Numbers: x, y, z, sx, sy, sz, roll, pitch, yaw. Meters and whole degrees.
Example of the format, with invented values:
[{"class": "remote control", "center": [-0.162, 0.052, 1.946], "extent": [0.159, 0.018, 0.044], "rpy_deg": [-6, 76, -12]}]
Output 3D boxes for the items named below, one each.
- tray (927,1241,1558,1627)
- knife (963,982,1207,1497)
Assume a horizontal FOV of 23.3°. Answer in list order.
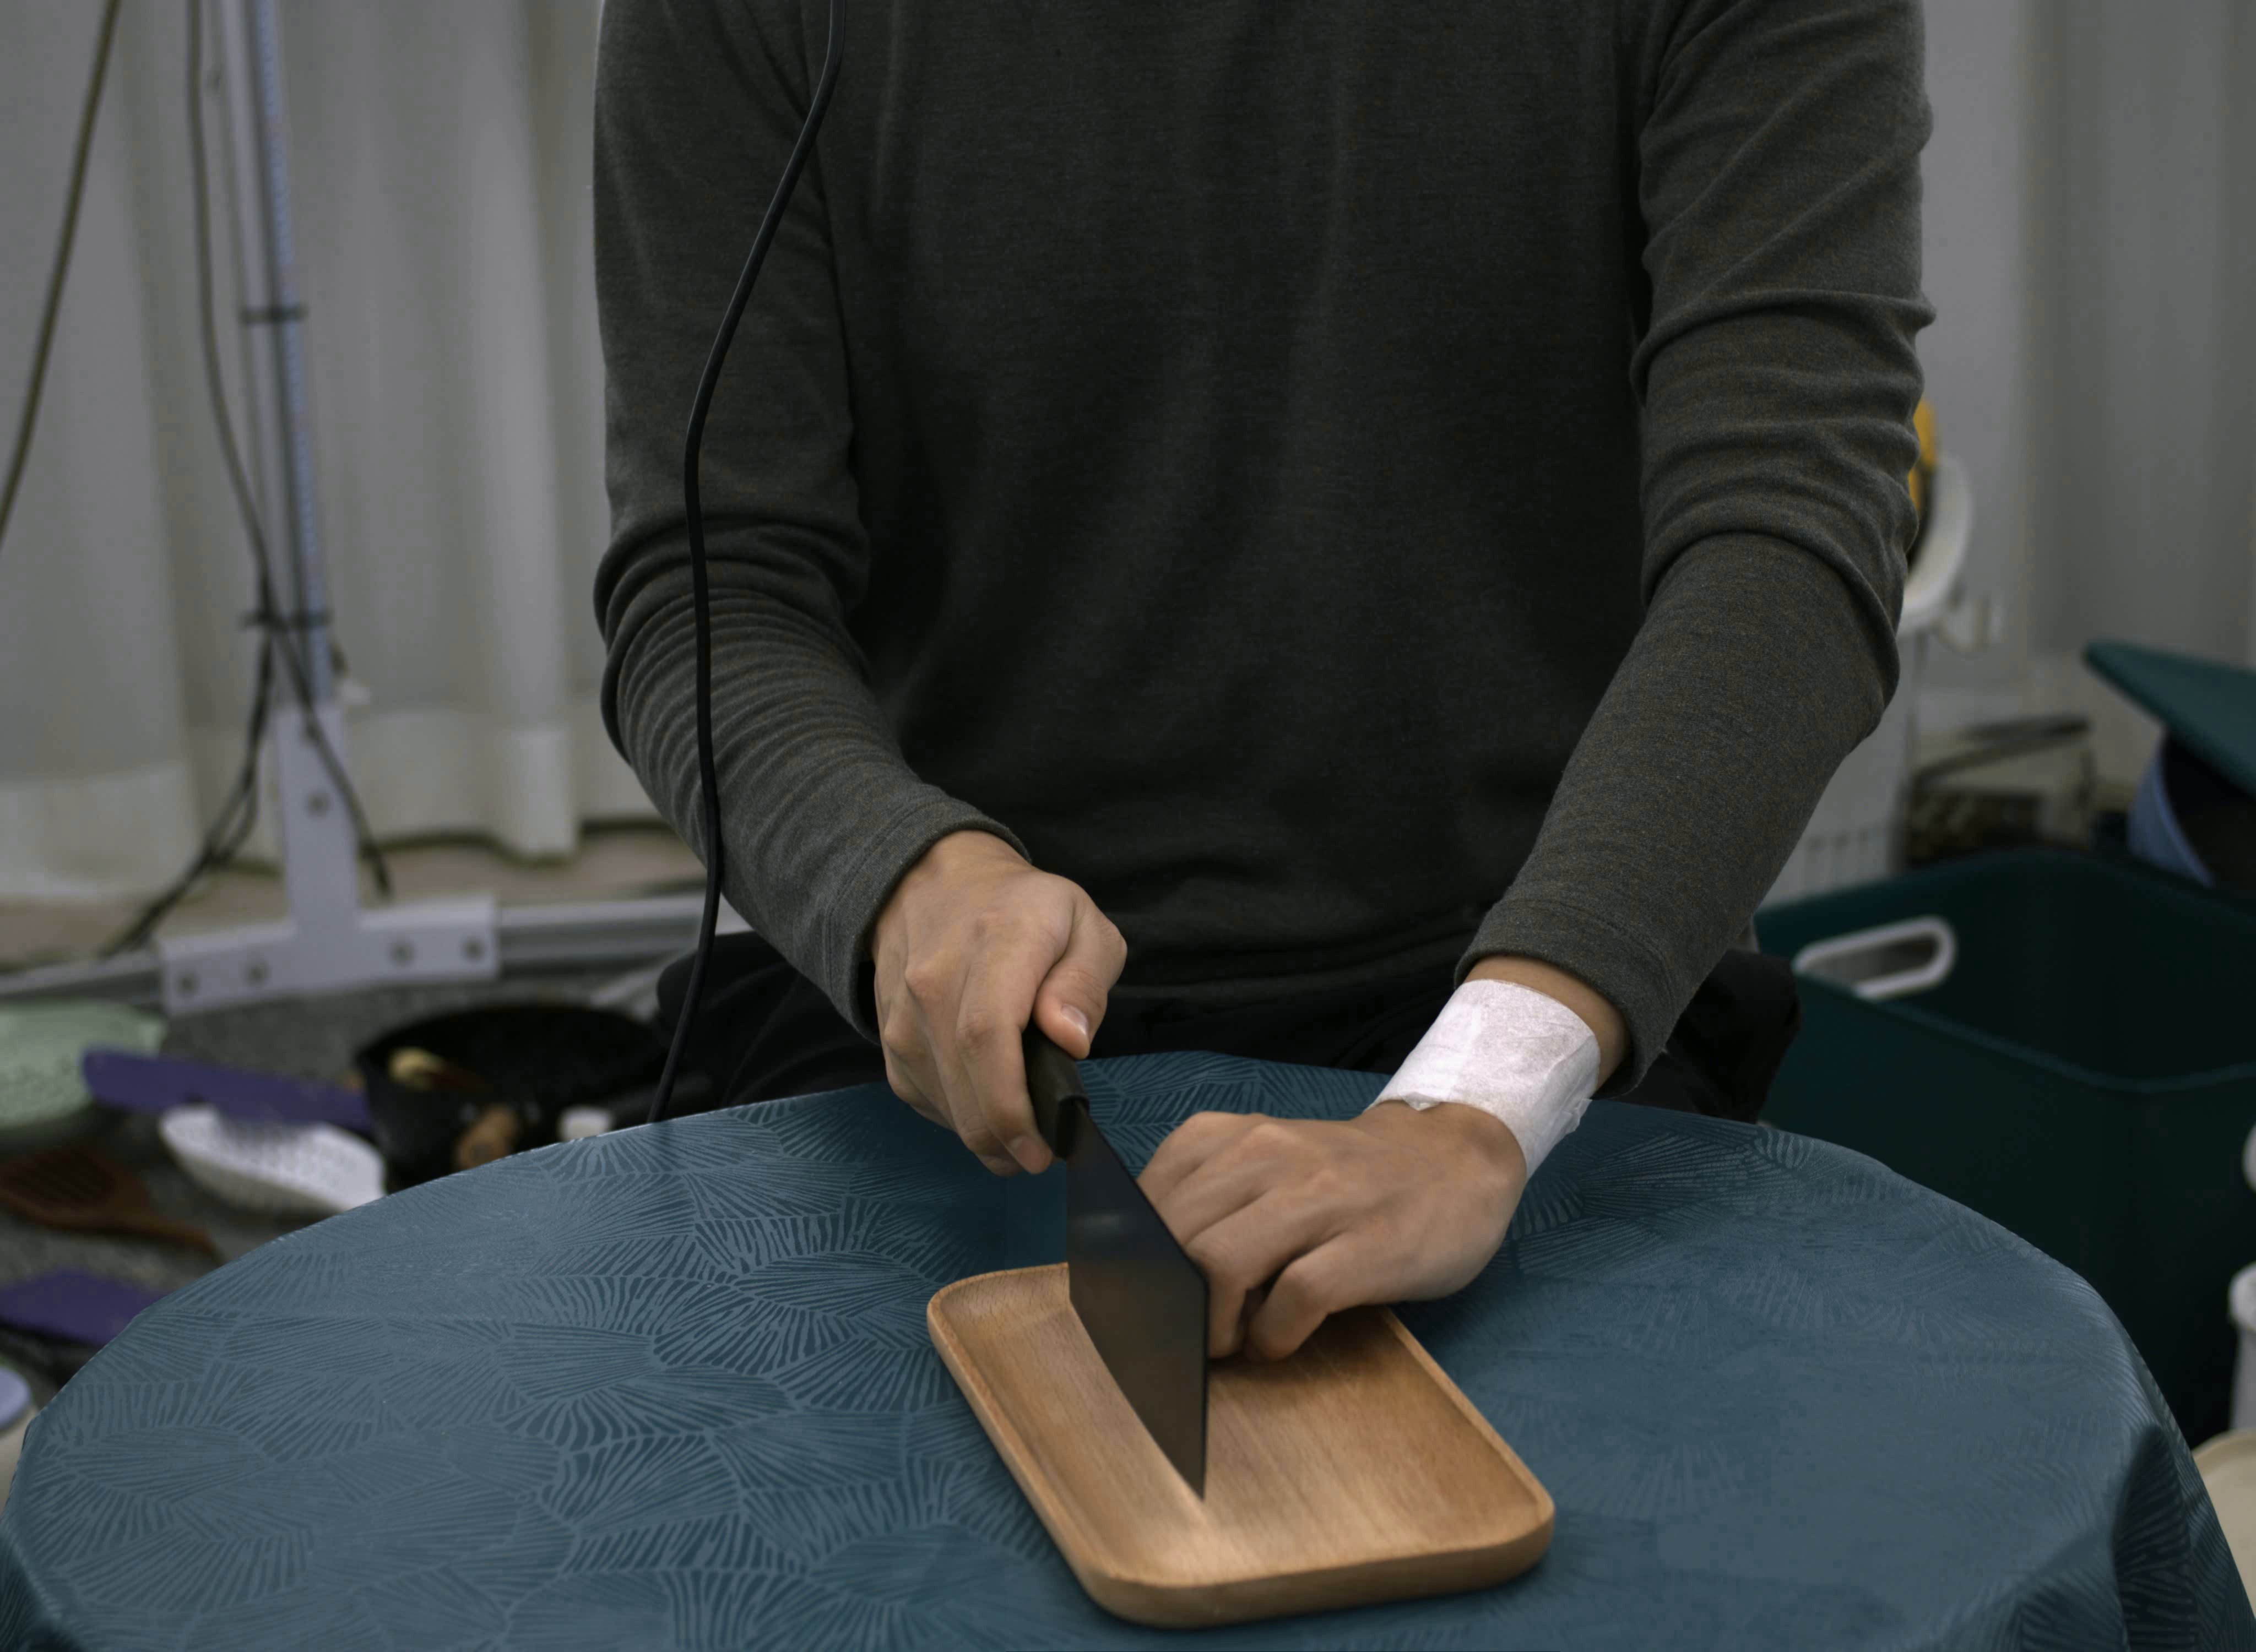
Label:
[{"class": "tray", "center": [0.027, 0.163, 1.498], "extent": [0.130, 0.023, 0.252], "rpy_deg": [-4, 13, -12]}, {"class": "knife", "center": [-0.012, 0.109, 1.556], "extent": [0.021, 0.080, 0.305], "rpy_deg": [-1, 18, -12]}]
